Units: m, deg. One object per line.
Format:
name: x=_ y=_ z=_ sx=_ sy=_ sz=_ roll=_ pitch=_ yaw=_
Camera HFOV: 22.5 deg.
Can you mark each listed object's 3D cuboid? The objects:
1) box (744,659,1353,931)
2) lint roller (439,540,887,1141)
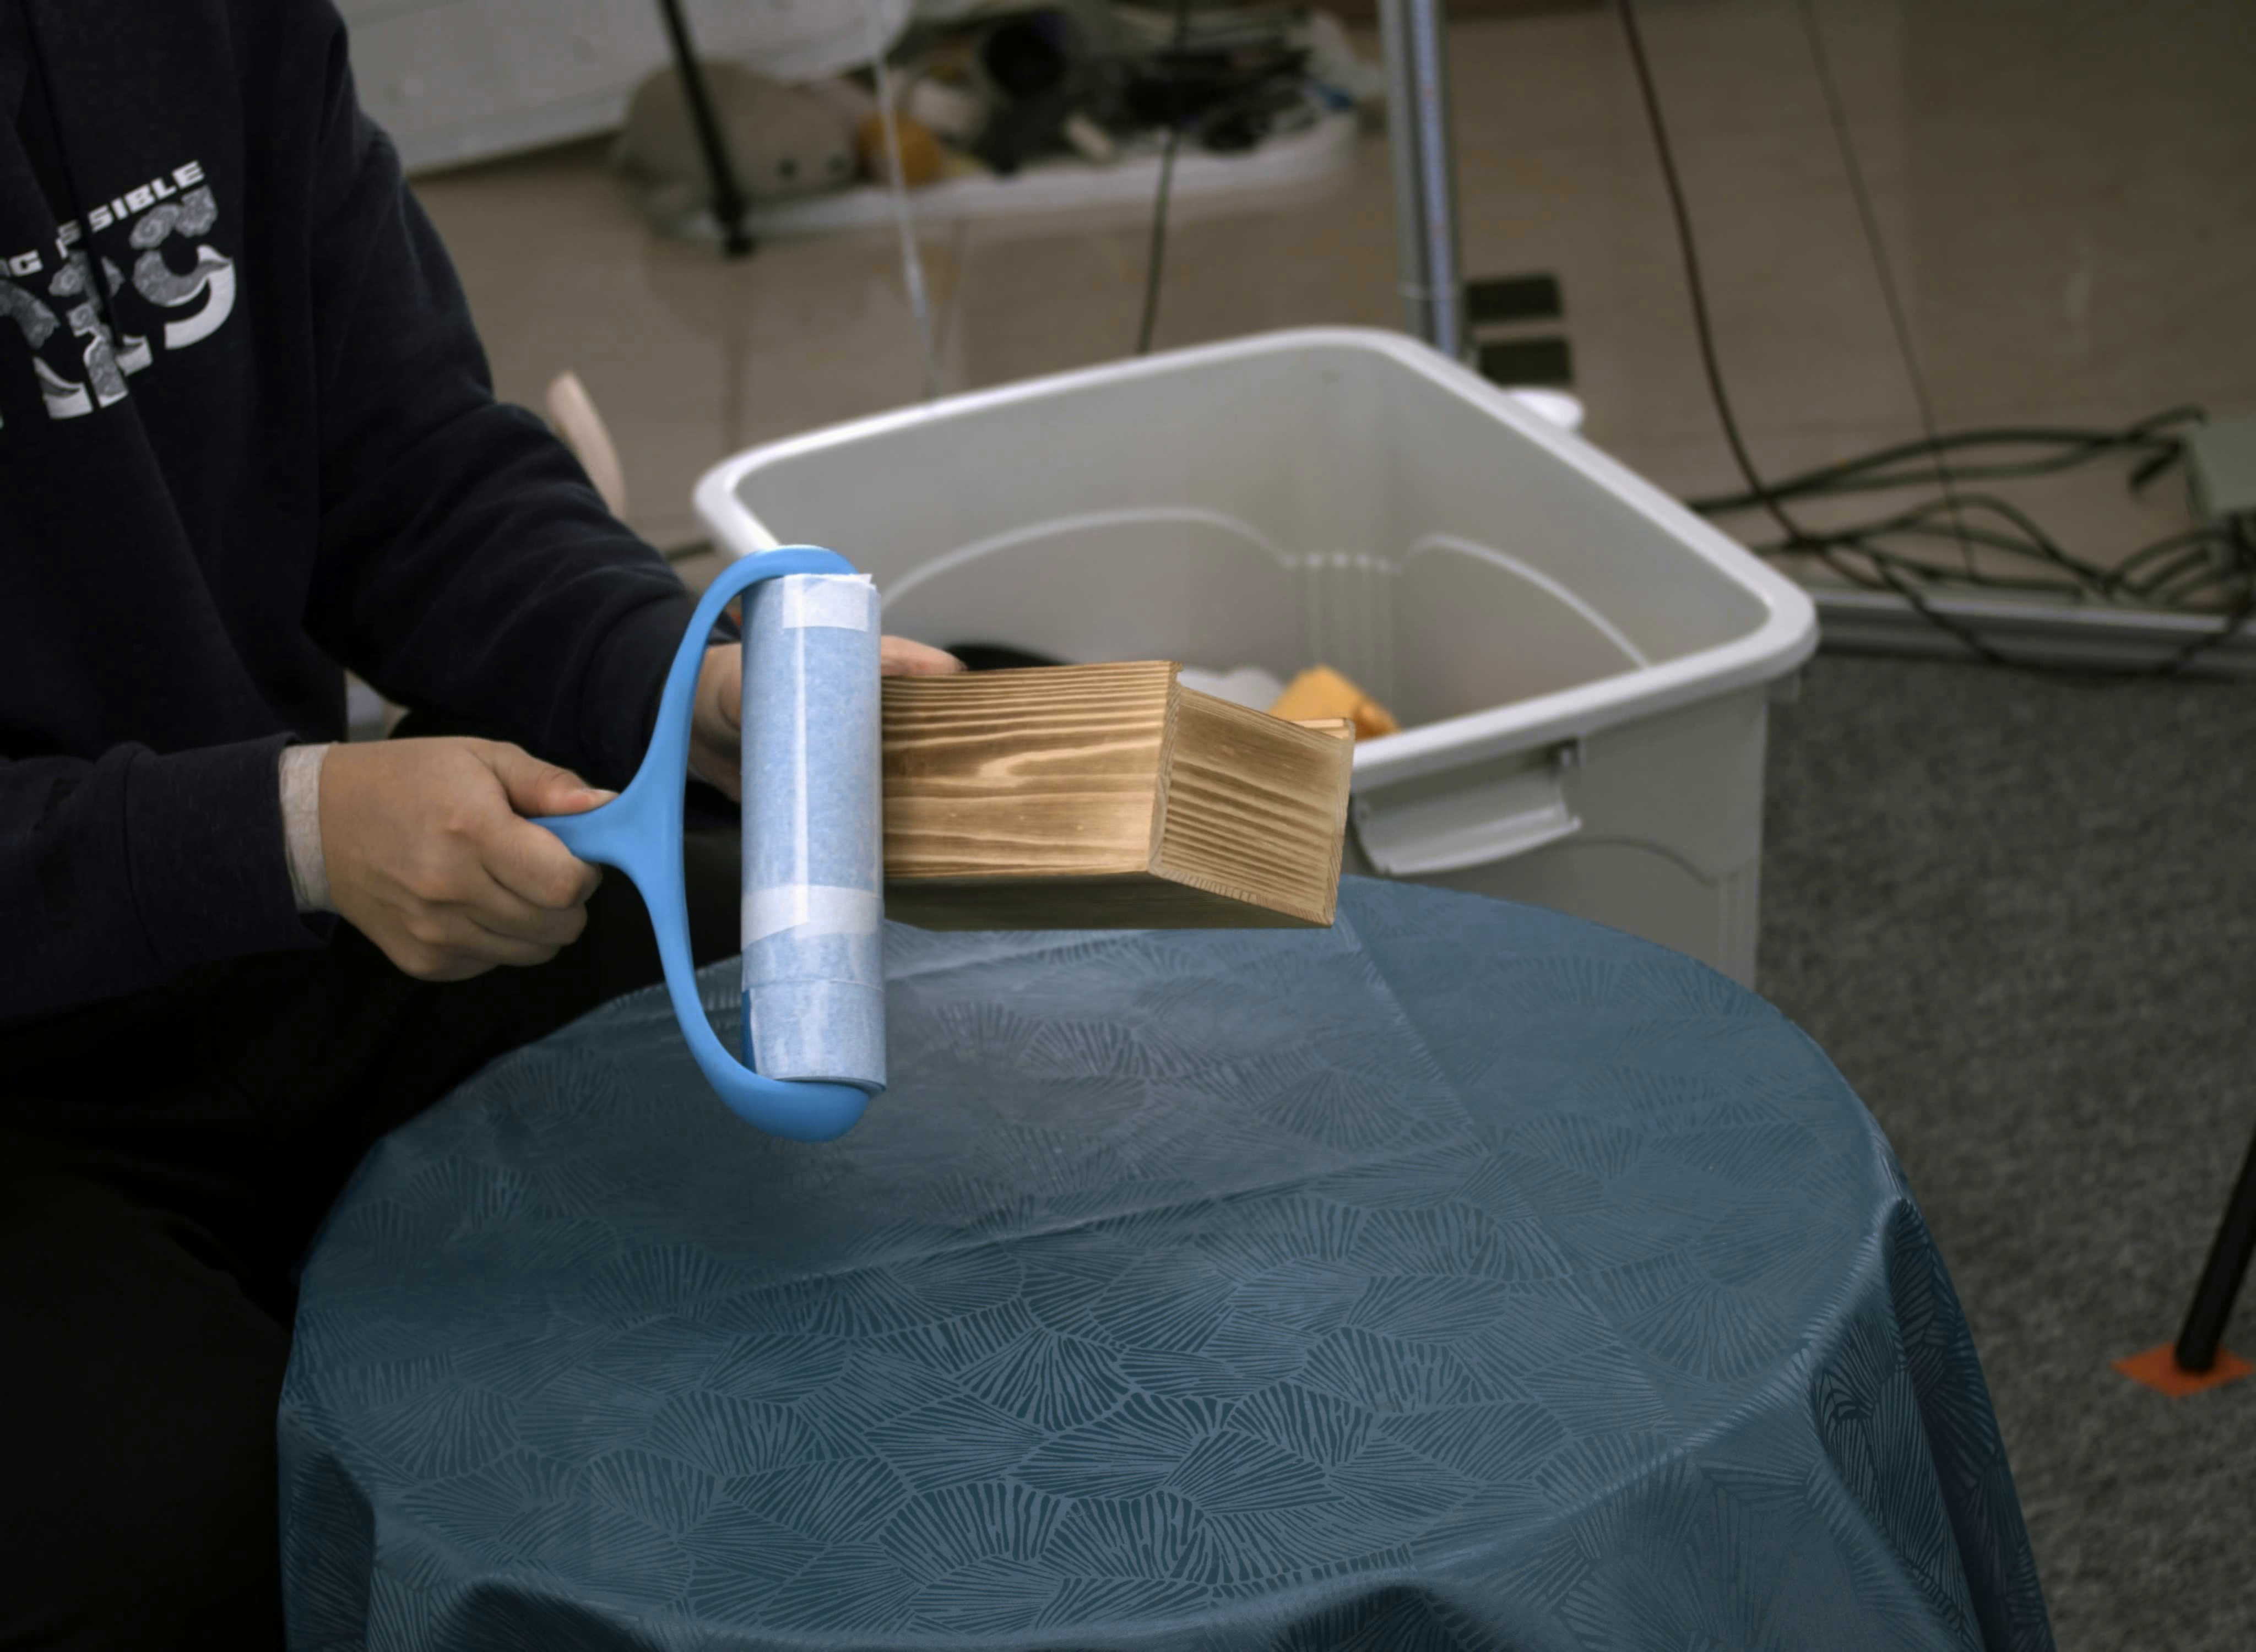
box: x=-0.032 y=-0.009 z=2.143 sx=0.211 sy=0.080 sz=0.108 roll=-1 pitch=-12 yaw=42
lint roller: x=-0.176 y=0.009 z=2.118 sx=0.180 sy=0.227 sz=0.068 roll=-4 pitch=-11 yaw=7
